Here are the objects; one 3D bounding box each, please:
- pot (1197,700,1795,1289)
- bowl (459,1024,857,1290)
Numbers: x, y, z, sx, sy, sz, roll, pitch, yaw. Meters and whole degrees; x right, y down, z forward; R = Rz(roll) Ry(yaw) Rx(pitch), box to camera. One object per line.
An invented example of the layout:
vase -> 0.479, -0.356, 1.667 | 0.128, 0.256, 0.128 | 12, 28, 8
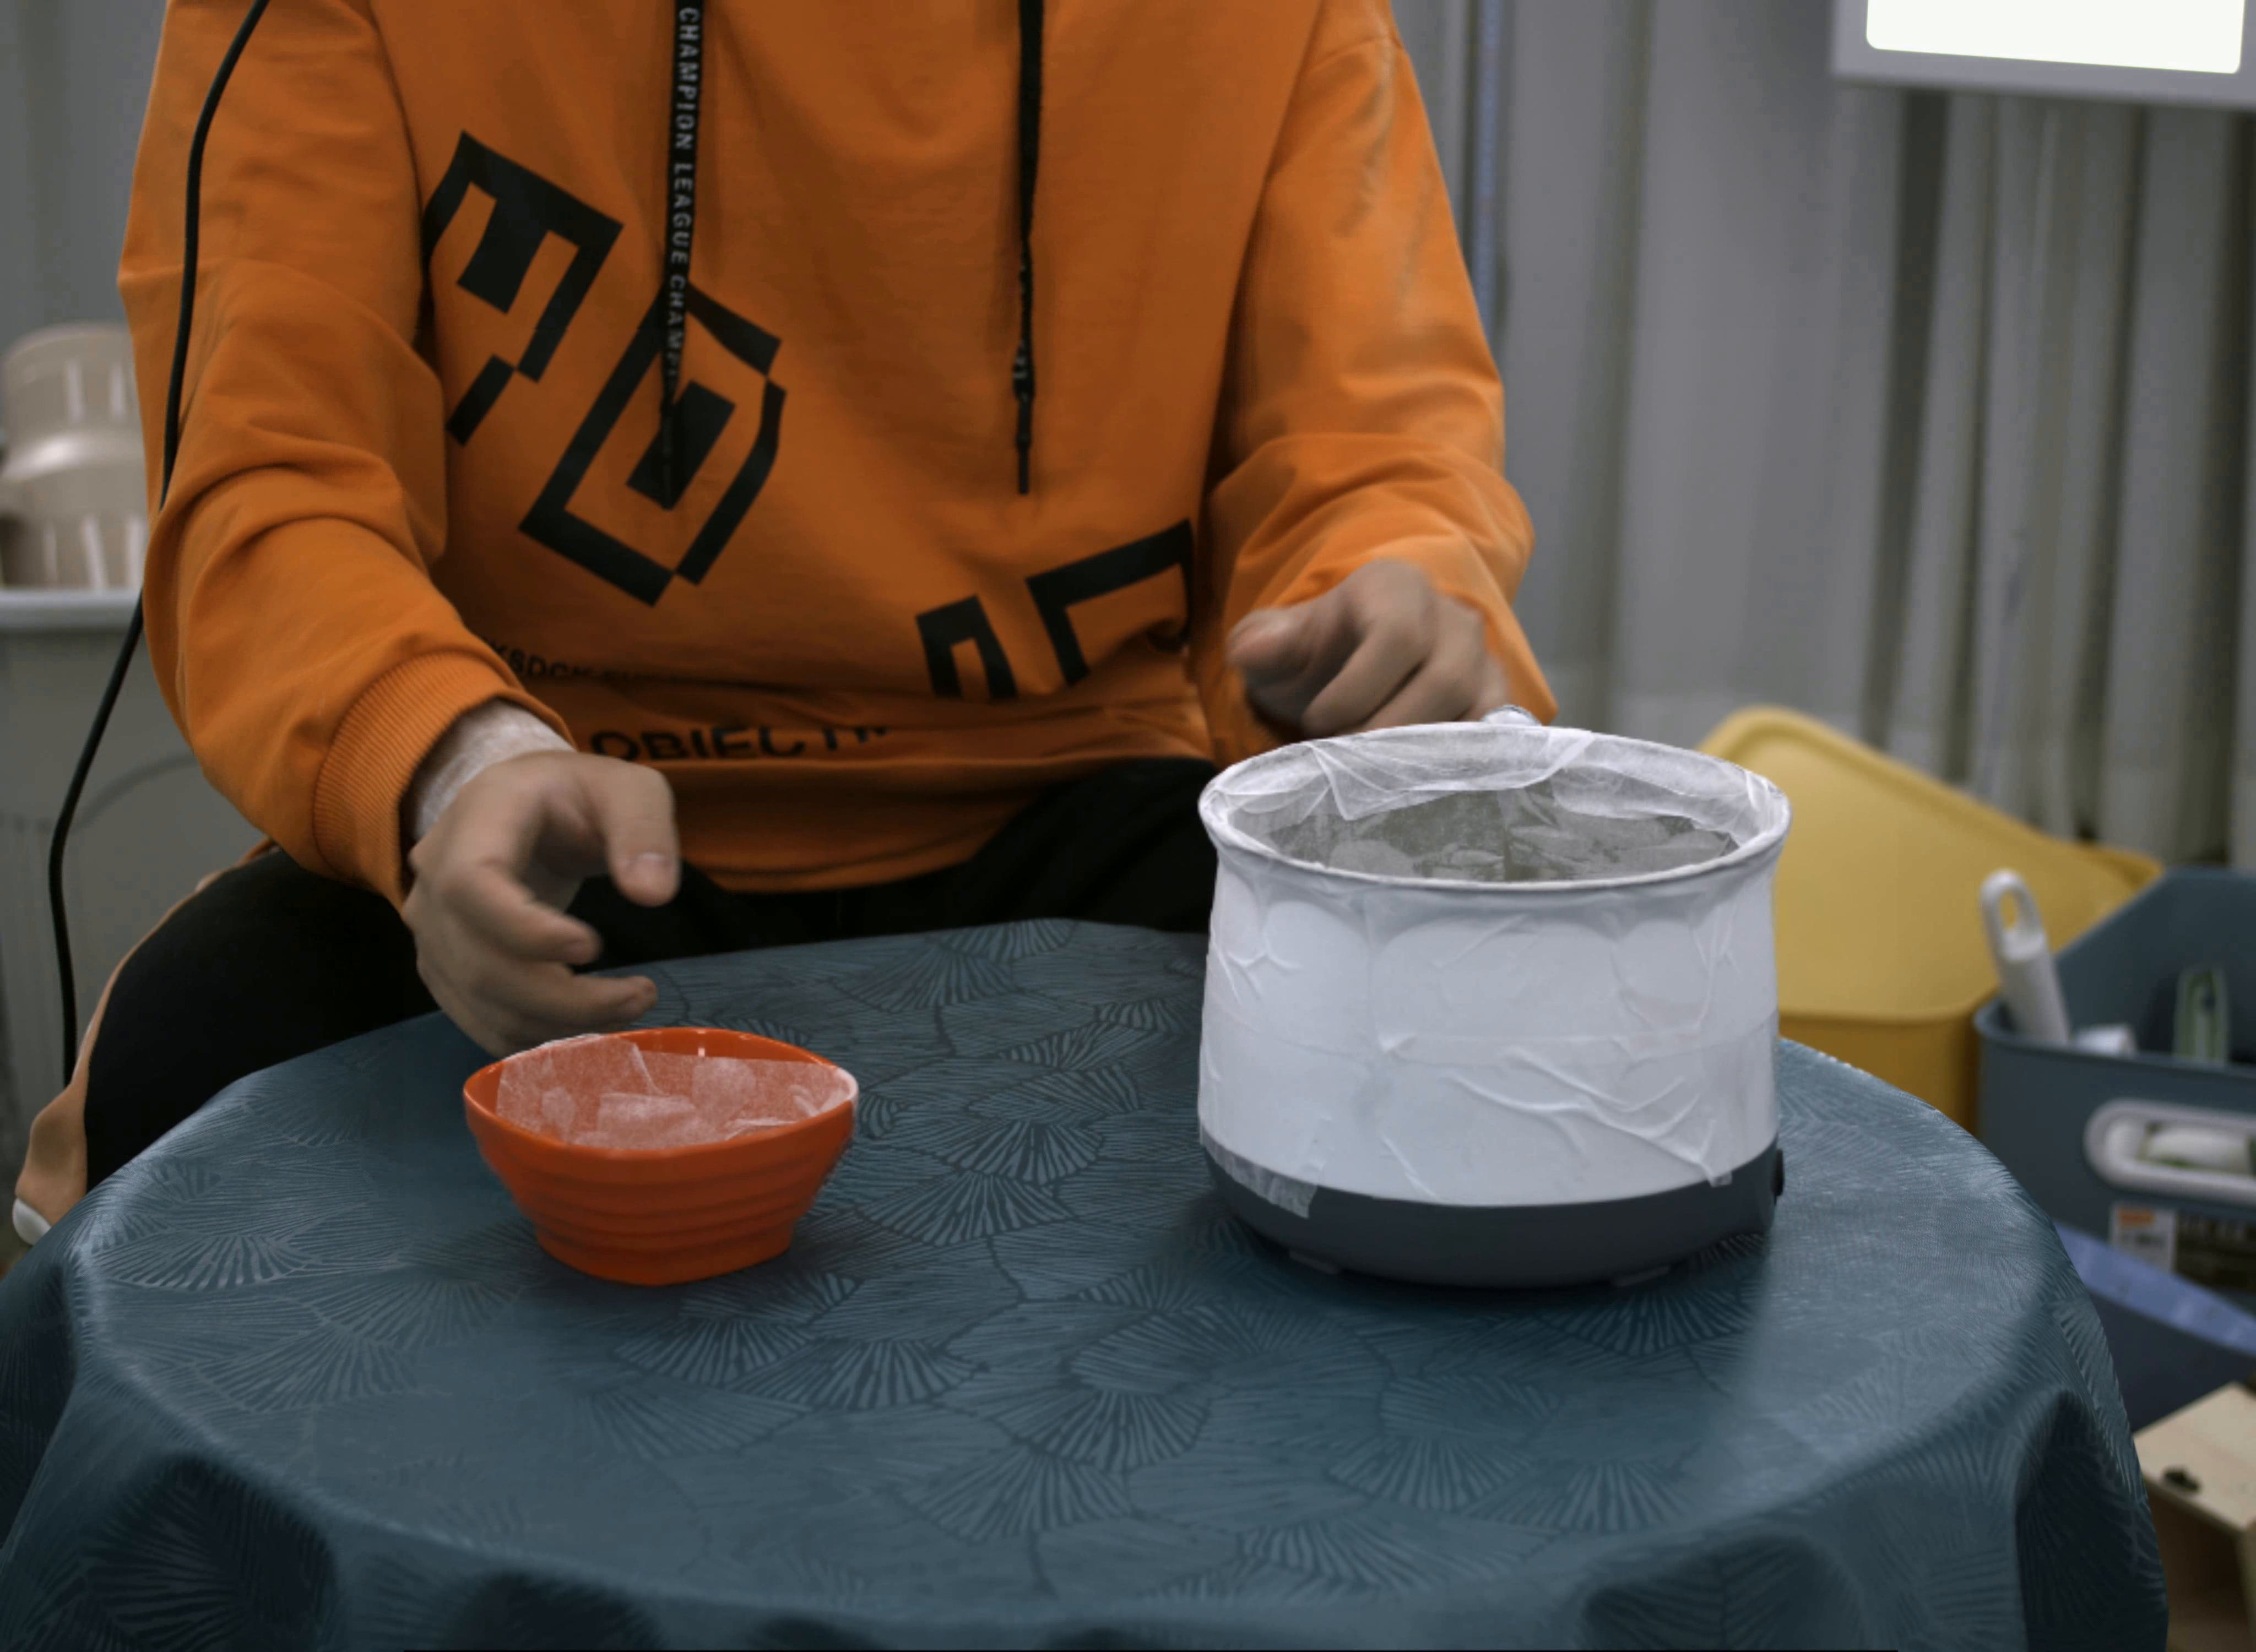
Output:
pot -> 0.111, 0.046, 1.607 | 0.178, 0.138, 0.233 | 2, 16, 4
bowl -> -0.139, 0.100, 1.567 | 0.118, 0.052, 0.118 | 0, 17, 1
